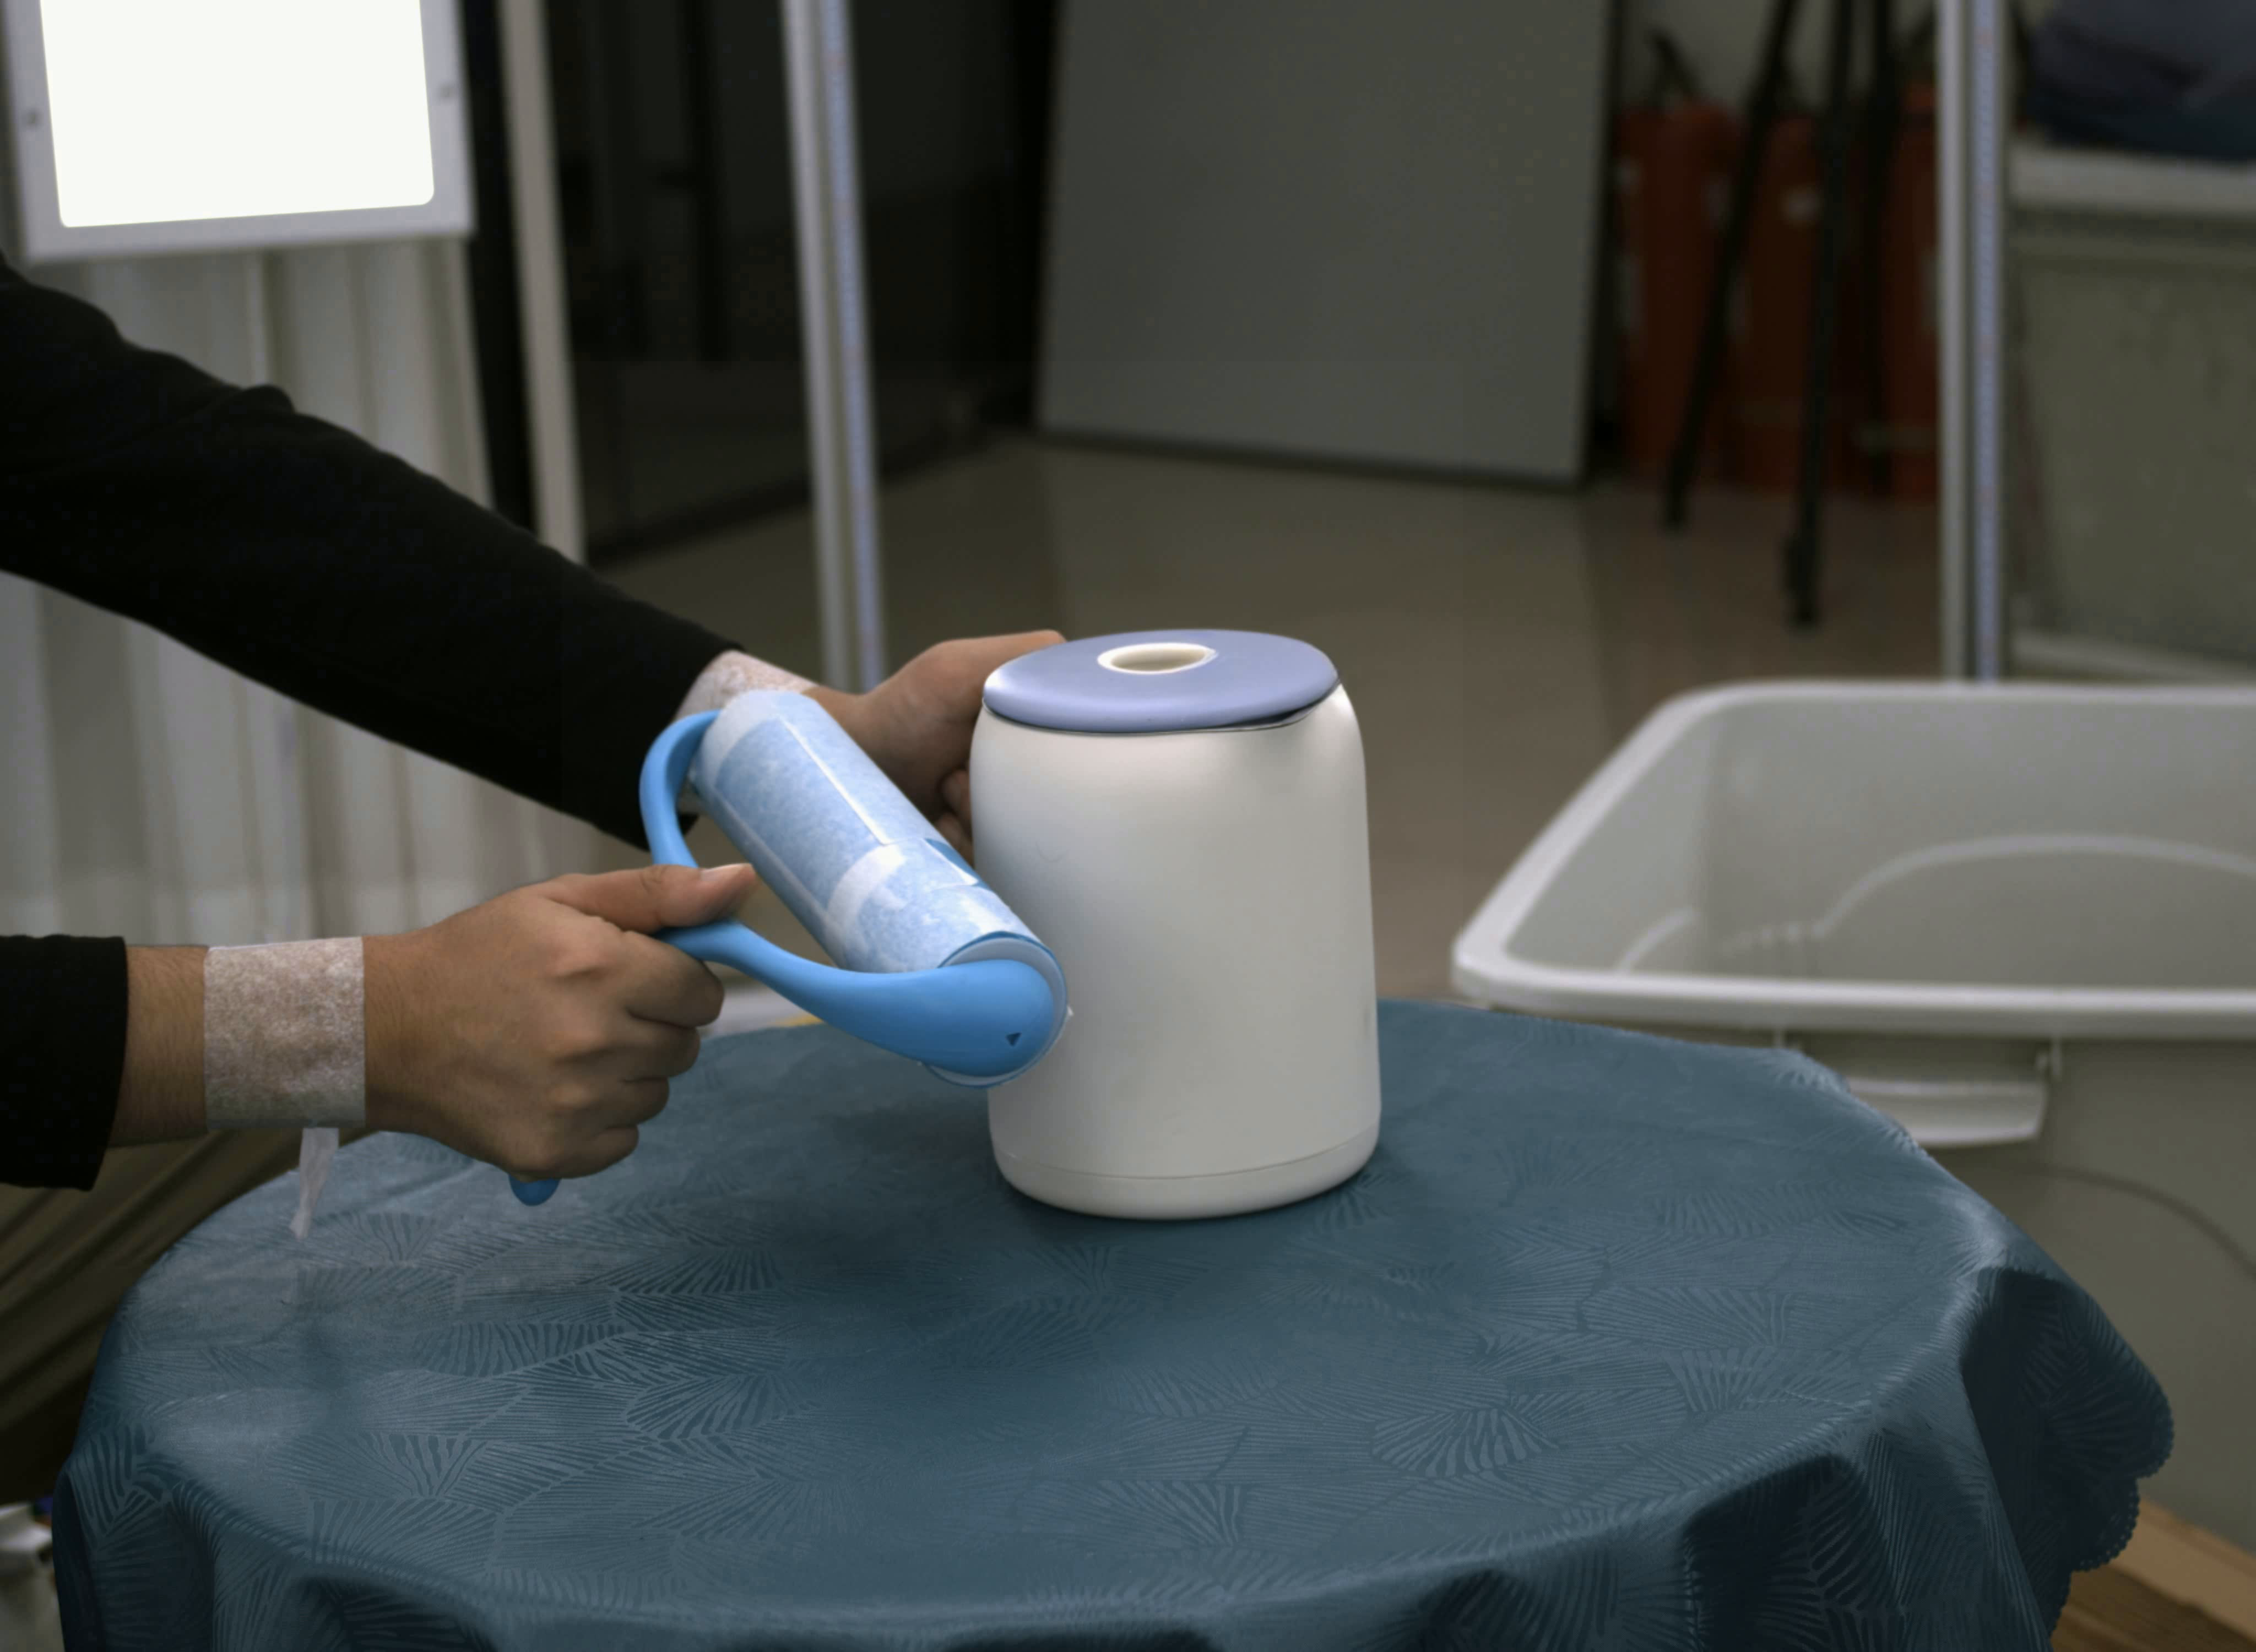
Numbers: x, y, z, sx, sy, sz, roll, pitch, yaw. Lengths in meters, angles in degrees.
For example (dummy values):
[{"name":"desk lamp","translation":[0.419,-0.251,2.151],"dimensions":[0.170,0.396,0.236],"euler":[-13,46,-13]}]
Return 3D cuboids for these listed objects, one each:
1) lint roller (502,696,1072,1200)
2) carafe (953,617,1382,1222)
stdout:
[{"name":"lint roller","translation":[-0.130,0.050,1.726],"dimensions":[0.178,0.068,0.231],"euler":[-32,36,-11]},{"name":"carafe","translation":[0.001,0.026,1.791],"dimensions":[0.129,0.184,0.193],"euler":[-12,14,-33]}]
